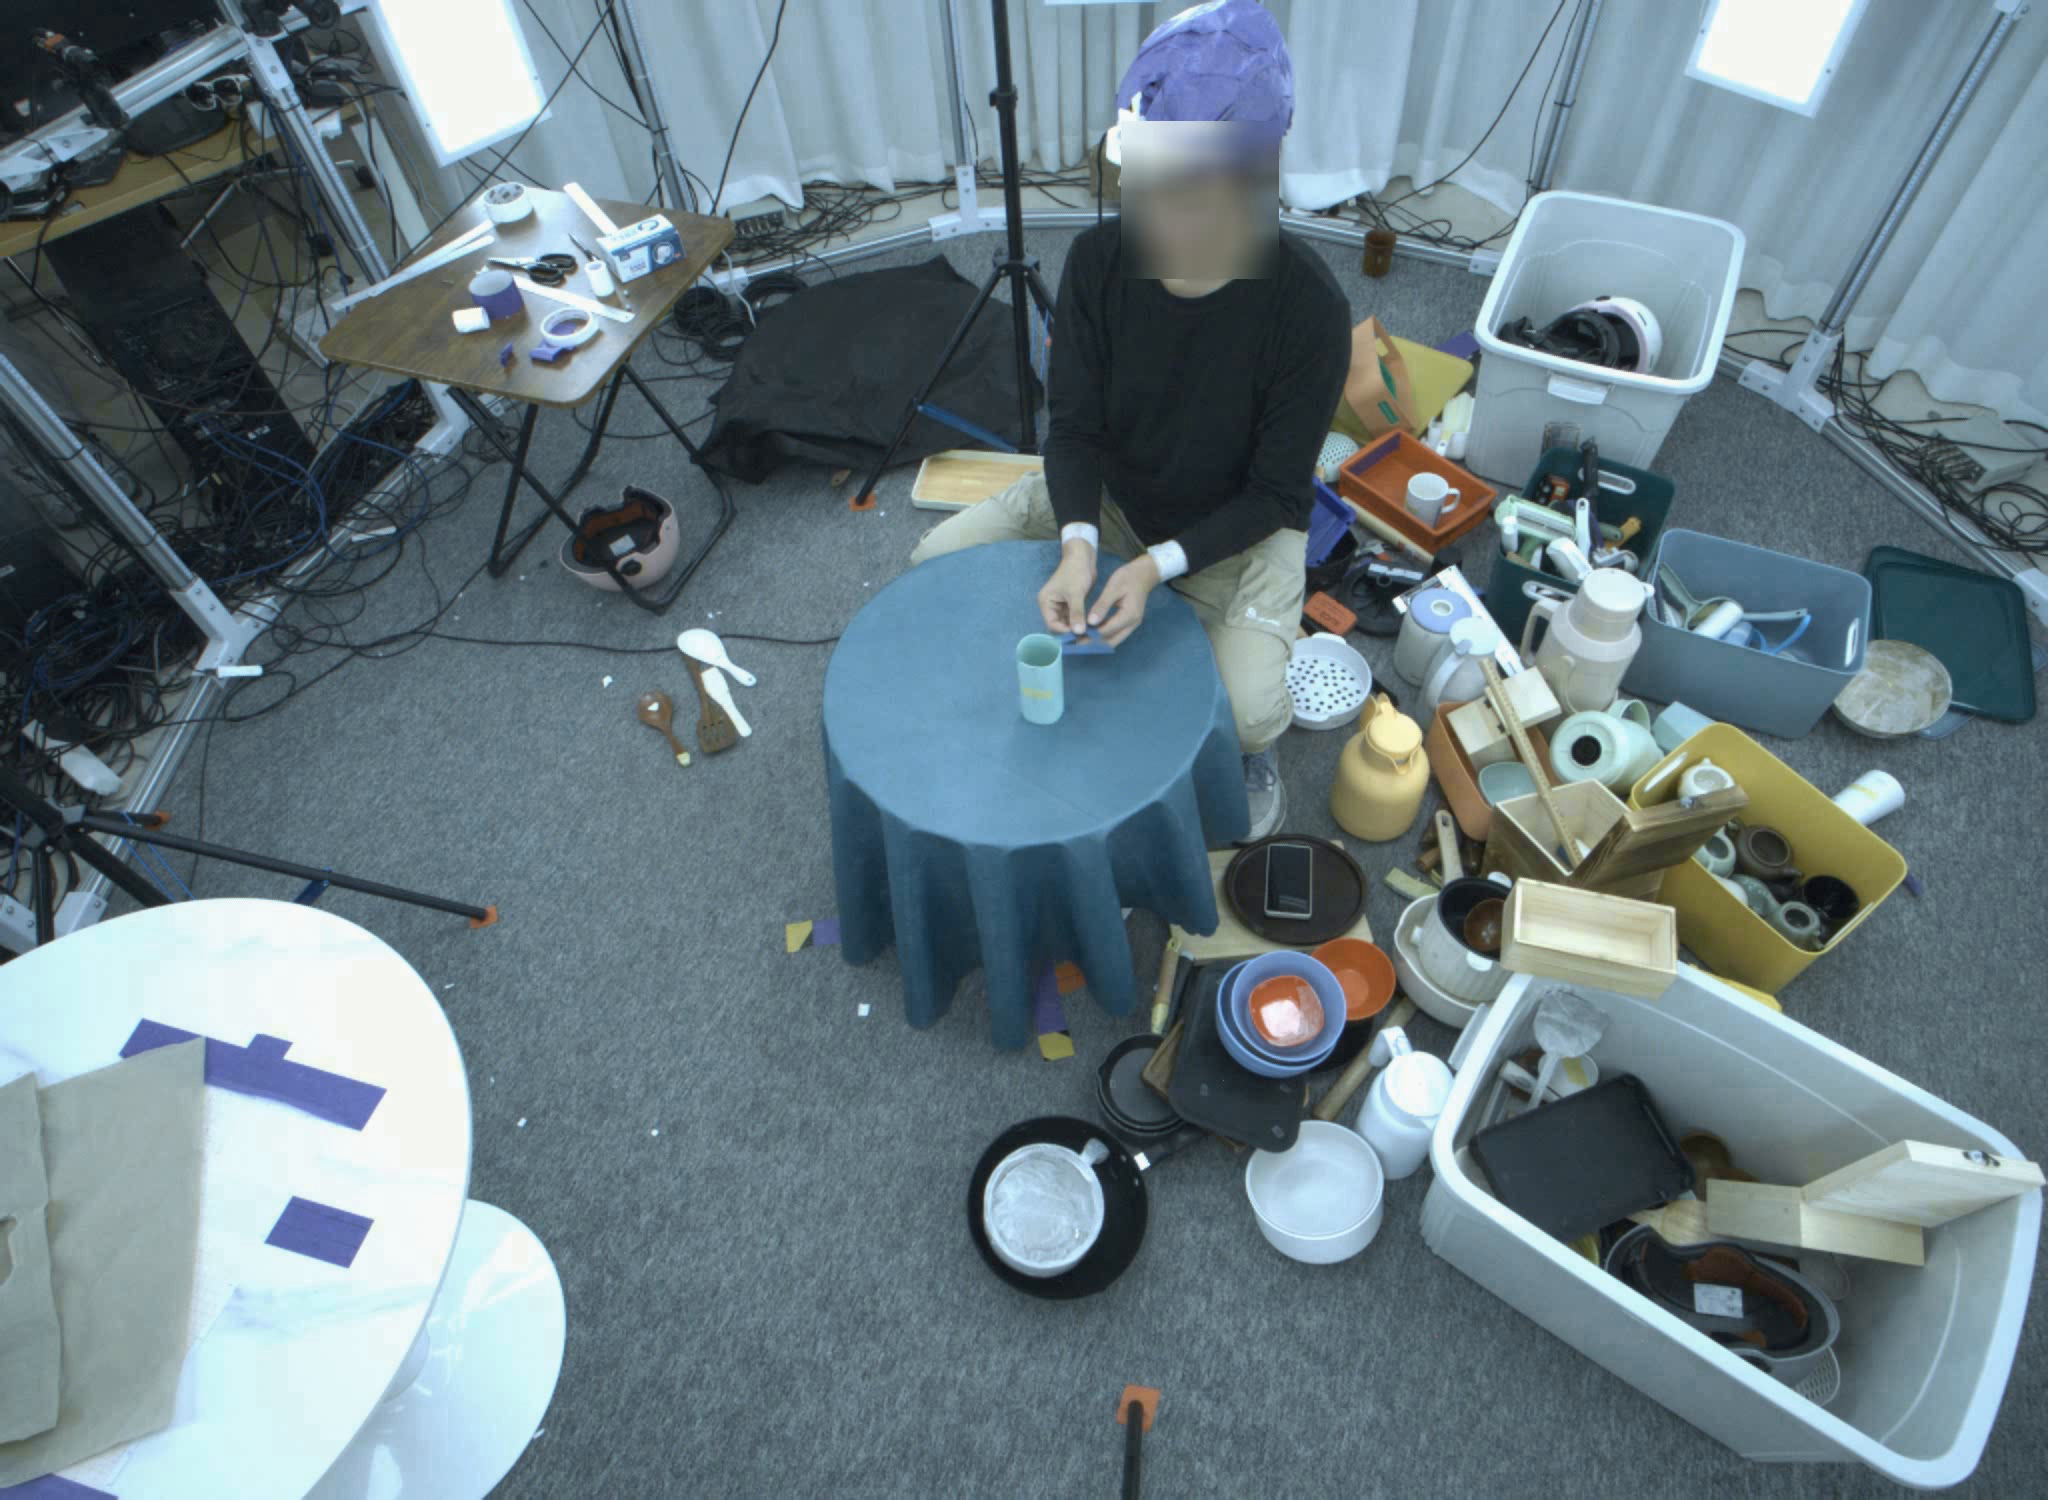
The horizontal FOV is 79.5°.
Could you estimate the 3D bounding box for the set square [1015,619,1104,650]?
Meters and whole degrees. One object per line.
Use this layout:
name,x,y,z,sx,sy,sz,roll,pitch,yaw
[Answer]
set square,0.054,-0.170,1.800,0.131,0.006,0.060,2,55,5

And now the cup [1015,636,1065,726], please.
cup,0.025,-0.100,1.782,0.066,0.134,0.066,-2,55,4
